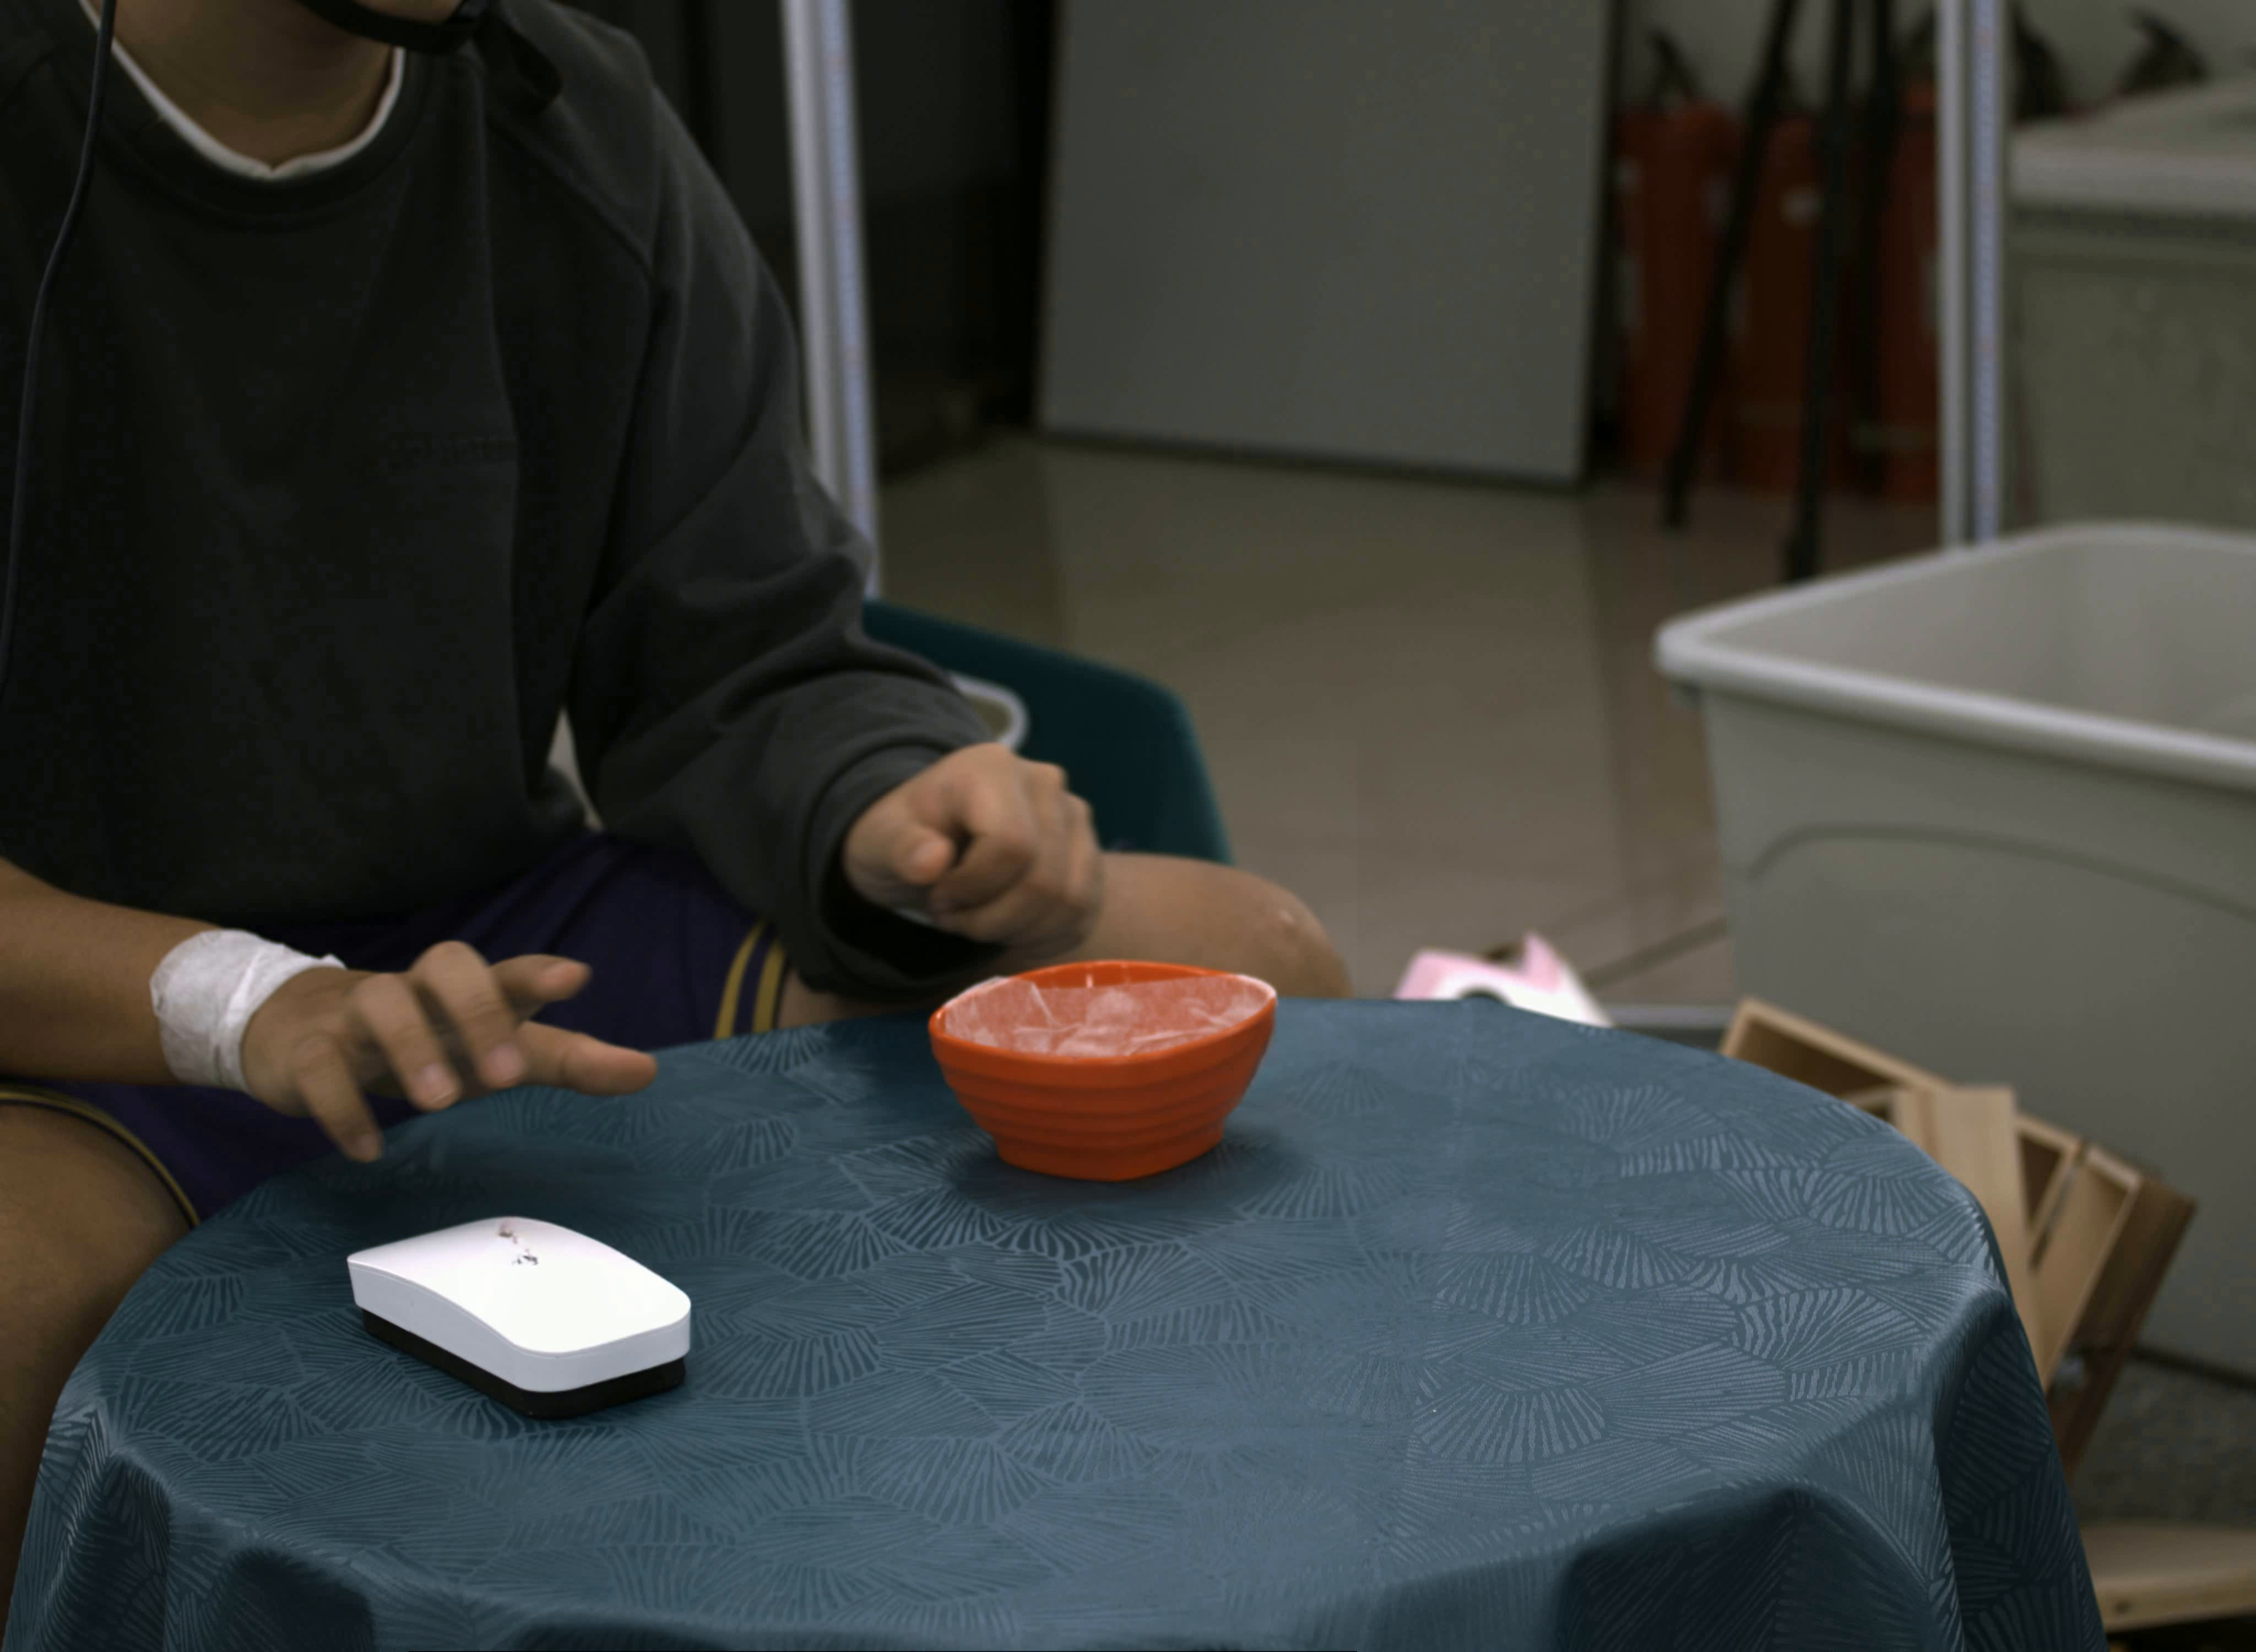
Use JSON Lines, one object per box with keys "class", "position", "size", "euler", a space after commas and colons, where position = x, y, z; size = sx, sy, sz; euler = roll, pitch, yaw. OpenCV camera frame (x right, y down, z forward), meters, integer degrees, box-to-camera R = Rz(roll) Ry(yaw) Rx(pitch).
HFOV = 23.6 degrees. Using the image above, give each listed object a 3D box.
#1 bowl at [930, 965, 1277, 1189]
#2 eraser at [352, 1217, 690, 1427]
{"class": "bowl", "position": [-0.006, 0.086, 1.809], "size": [0.117, 0.052, 0.119], "euler": [-5, 14, 0]}
{"class": "eraser", "position": [-0.184, 0.147, 1.649], "size": [0.062, 0.035, 0.133], "euler": [-11, 17, -31]}
